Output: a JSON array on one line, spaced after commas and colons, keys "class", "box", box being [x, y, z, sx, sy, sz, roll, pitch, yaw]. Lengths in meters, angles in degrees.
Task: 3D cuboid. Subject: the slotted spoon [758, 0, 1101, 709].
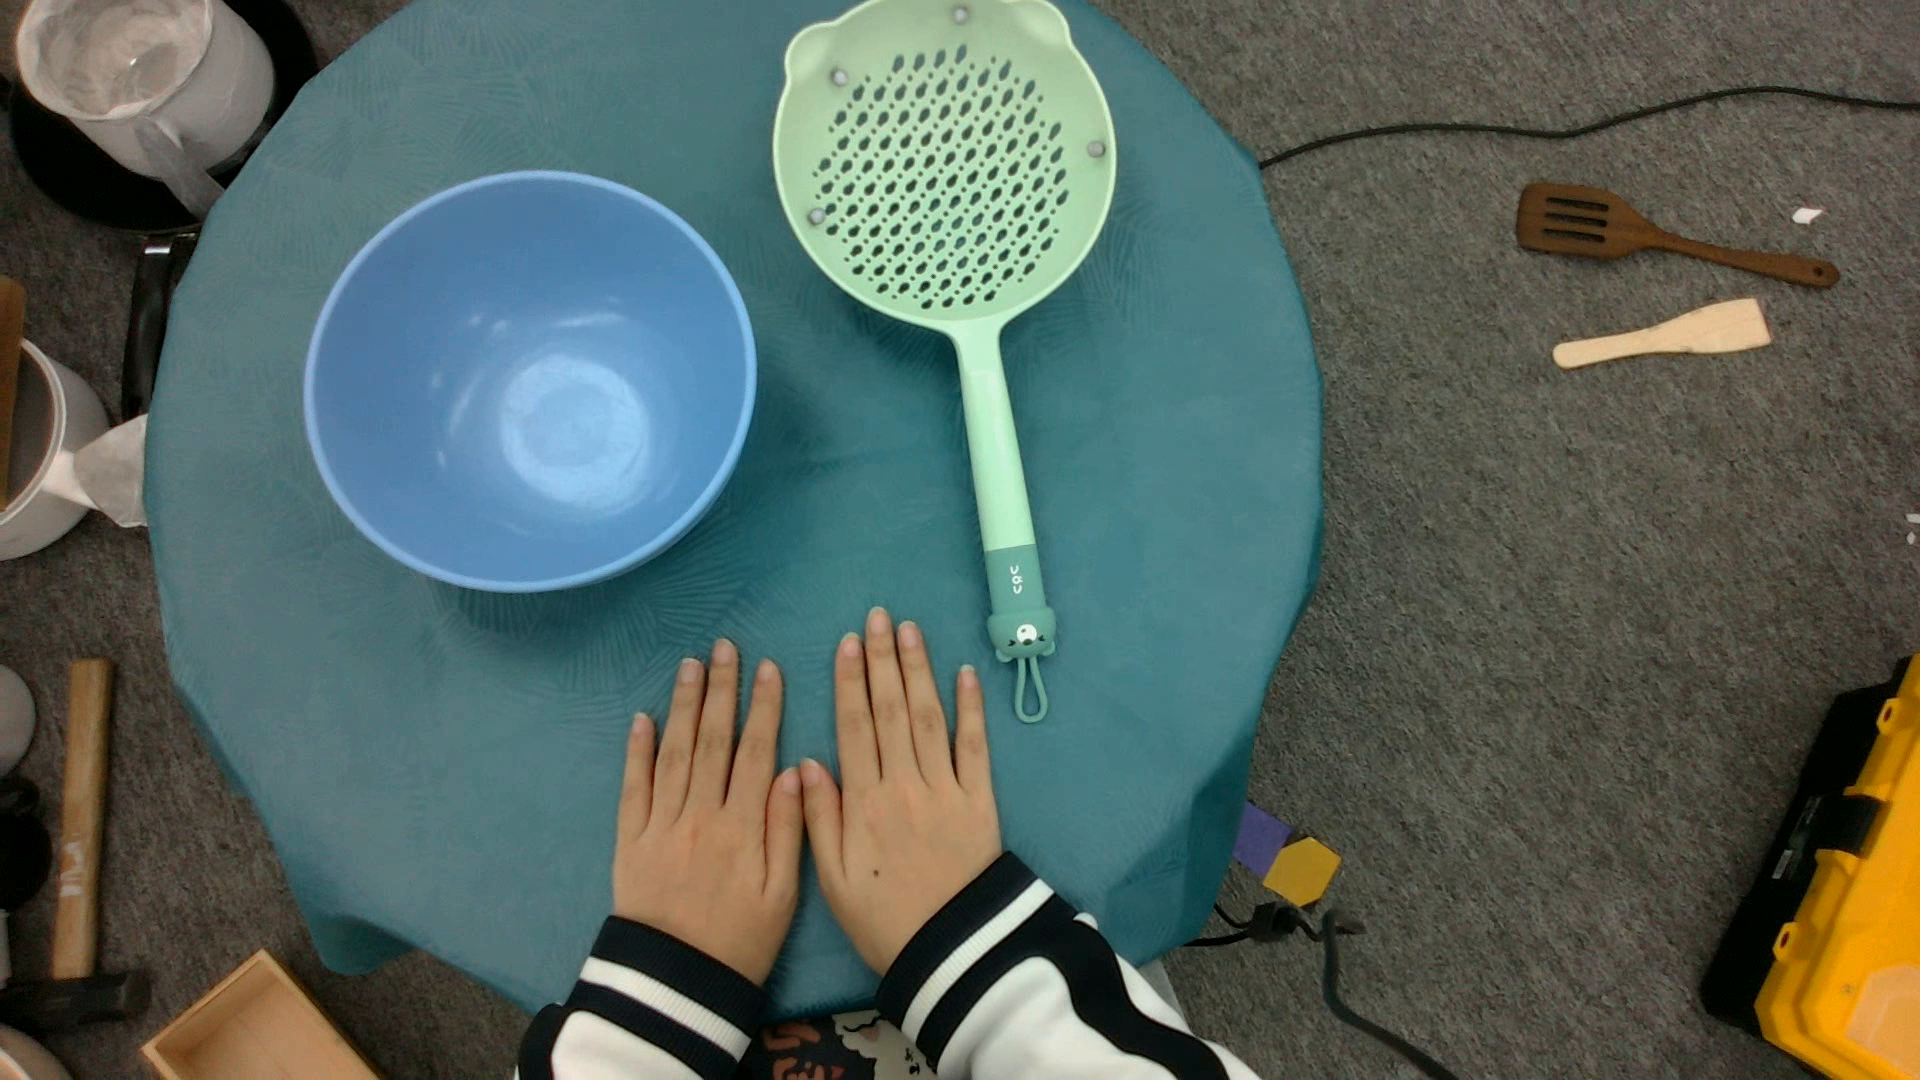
[{"class": "slotted spoon", "box": [0.000, -0.097, 0.685, 0.169, 0.075, 0.359, -9, 79, -3]}]

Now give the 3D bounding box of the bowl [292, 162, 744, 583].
[{"class": "bowl", "box": [-0.196, -0.068, 0.653, 0.196, 0.095, 0.197, 1, 77, -2]}]
